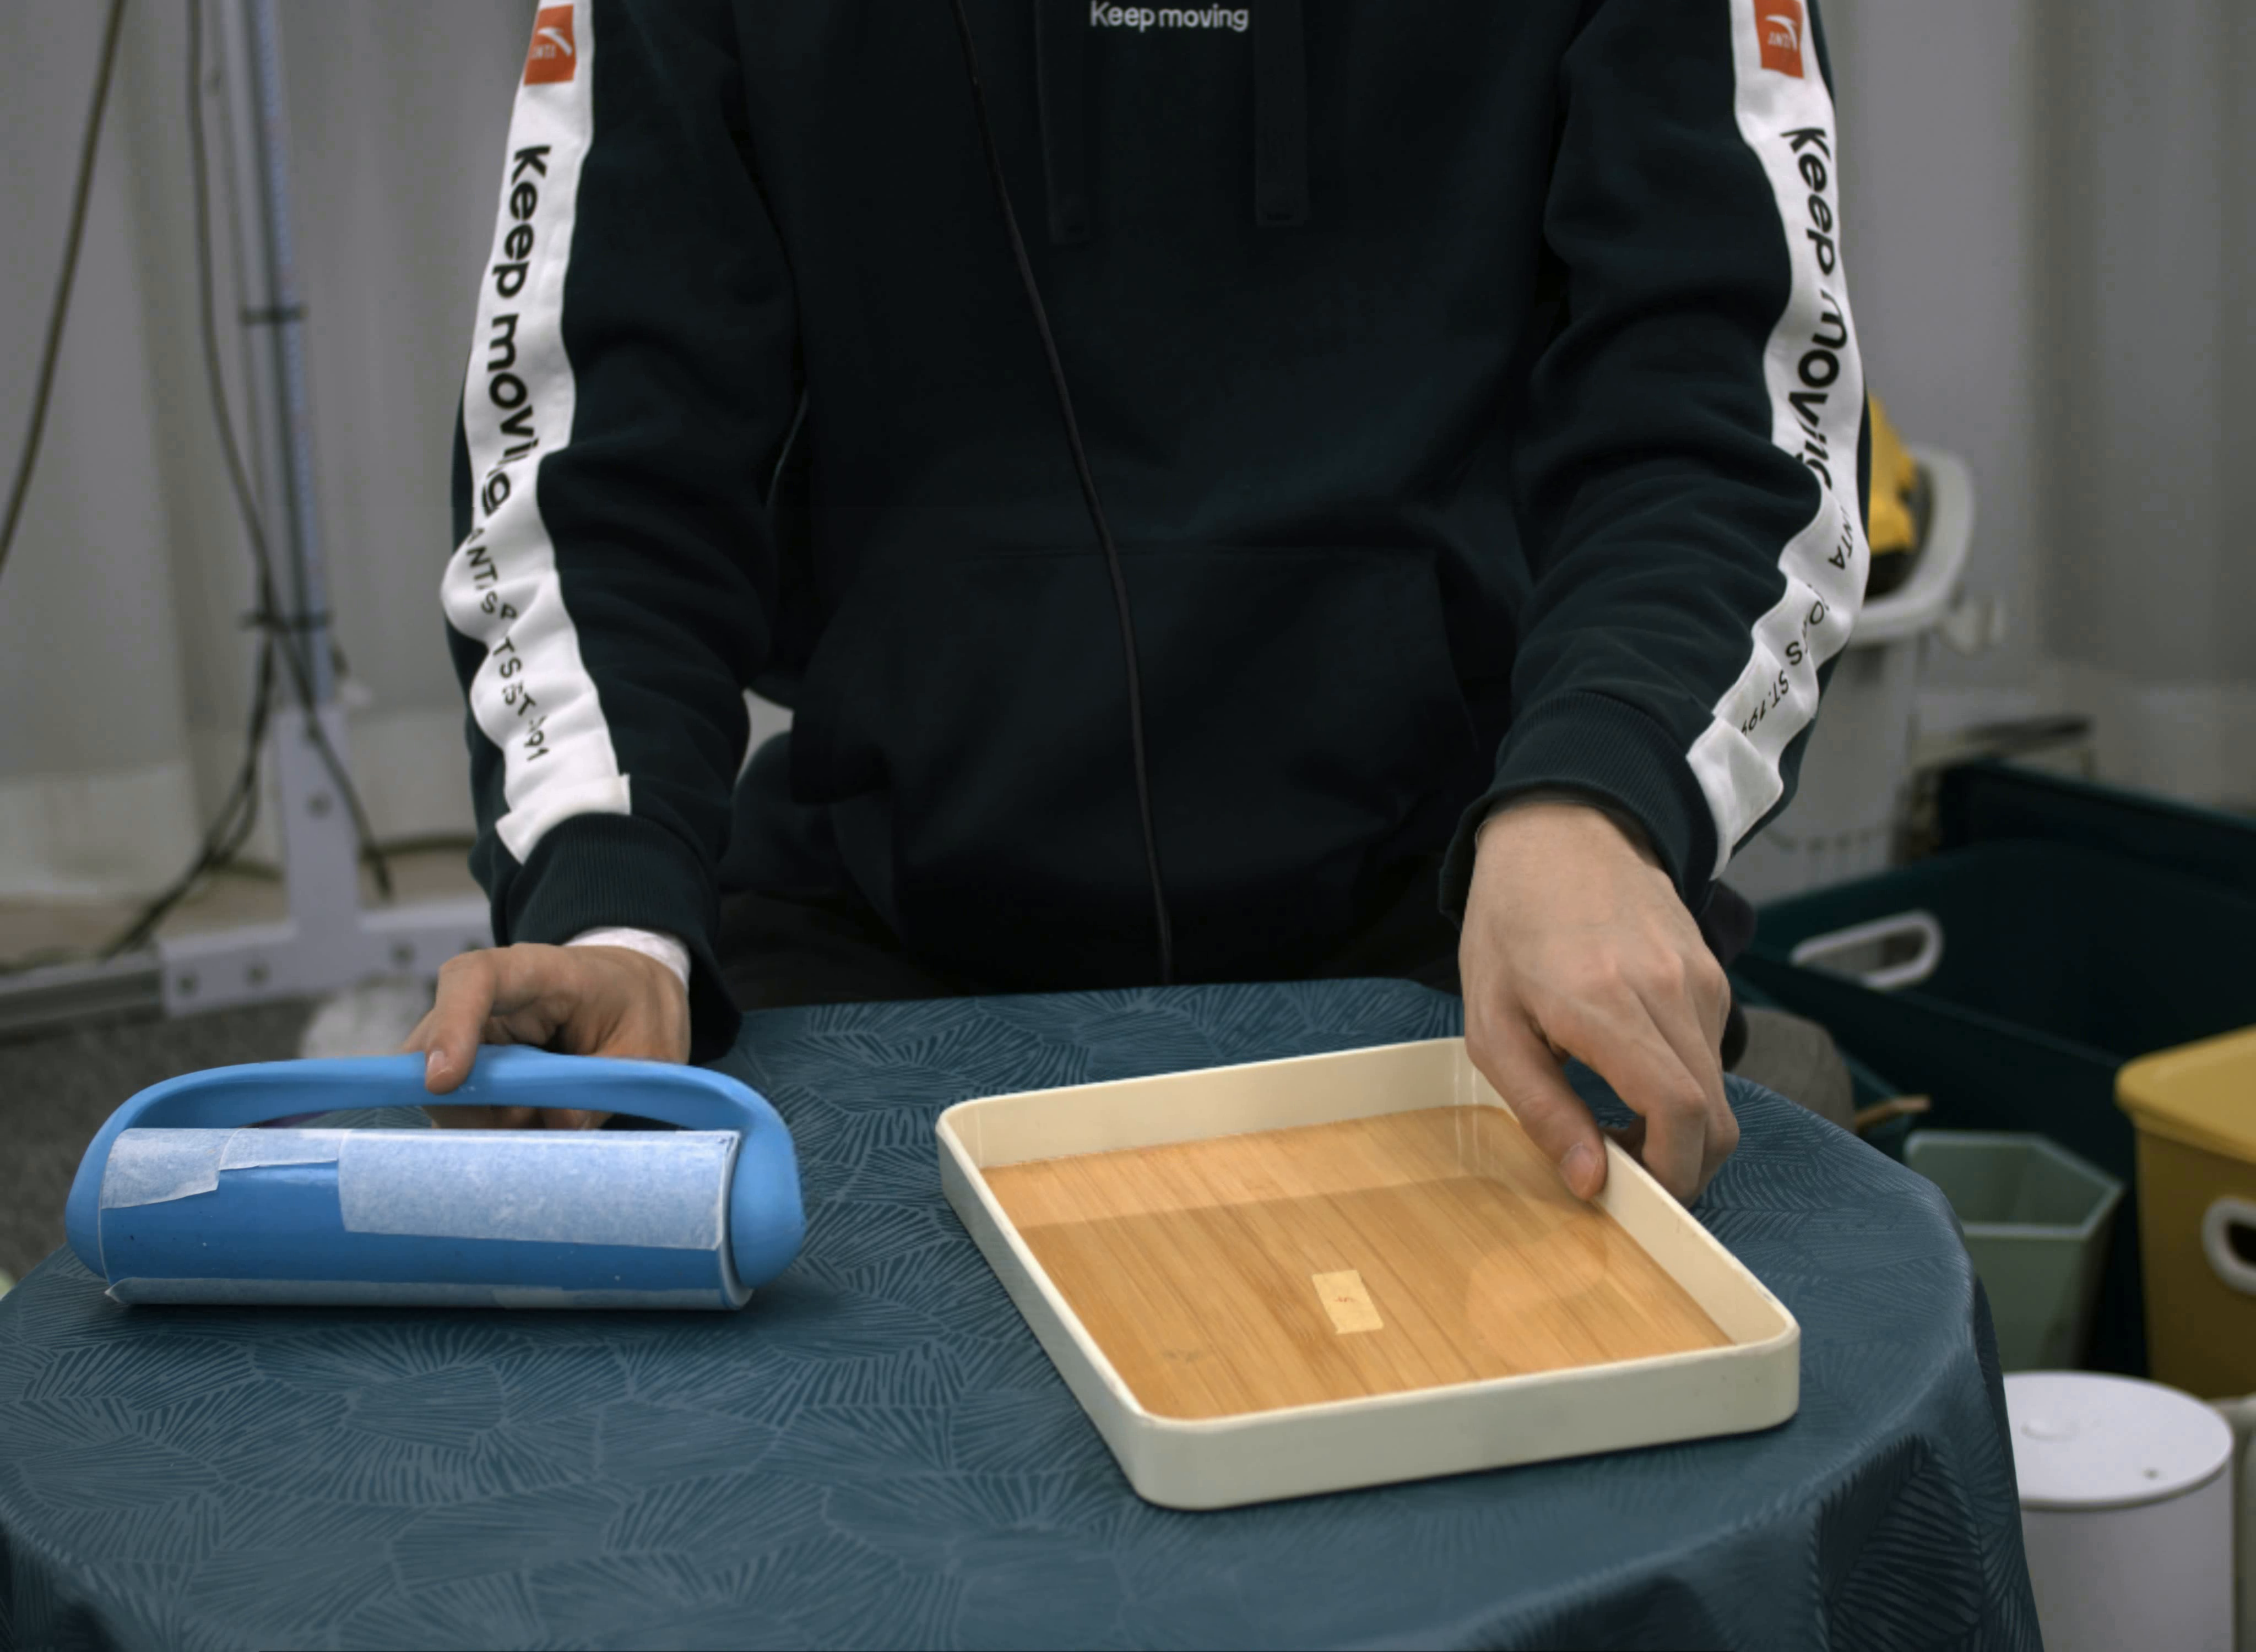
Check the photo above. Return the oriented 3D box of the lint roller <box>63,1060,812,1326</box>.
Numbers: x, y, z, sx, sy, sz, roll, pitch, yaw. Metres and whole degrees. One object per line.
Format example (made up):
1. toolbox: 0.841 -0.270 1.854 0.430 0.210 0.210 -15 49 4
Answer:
1. lint roller: -0.202 0.103 1.694 0.228 0.067 0.181 -4 16 7

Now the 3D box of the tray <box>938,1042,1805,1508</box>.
1. tray: 0.063 0.127 1.605 0.191 0.027 0.302 -6 15 -12
